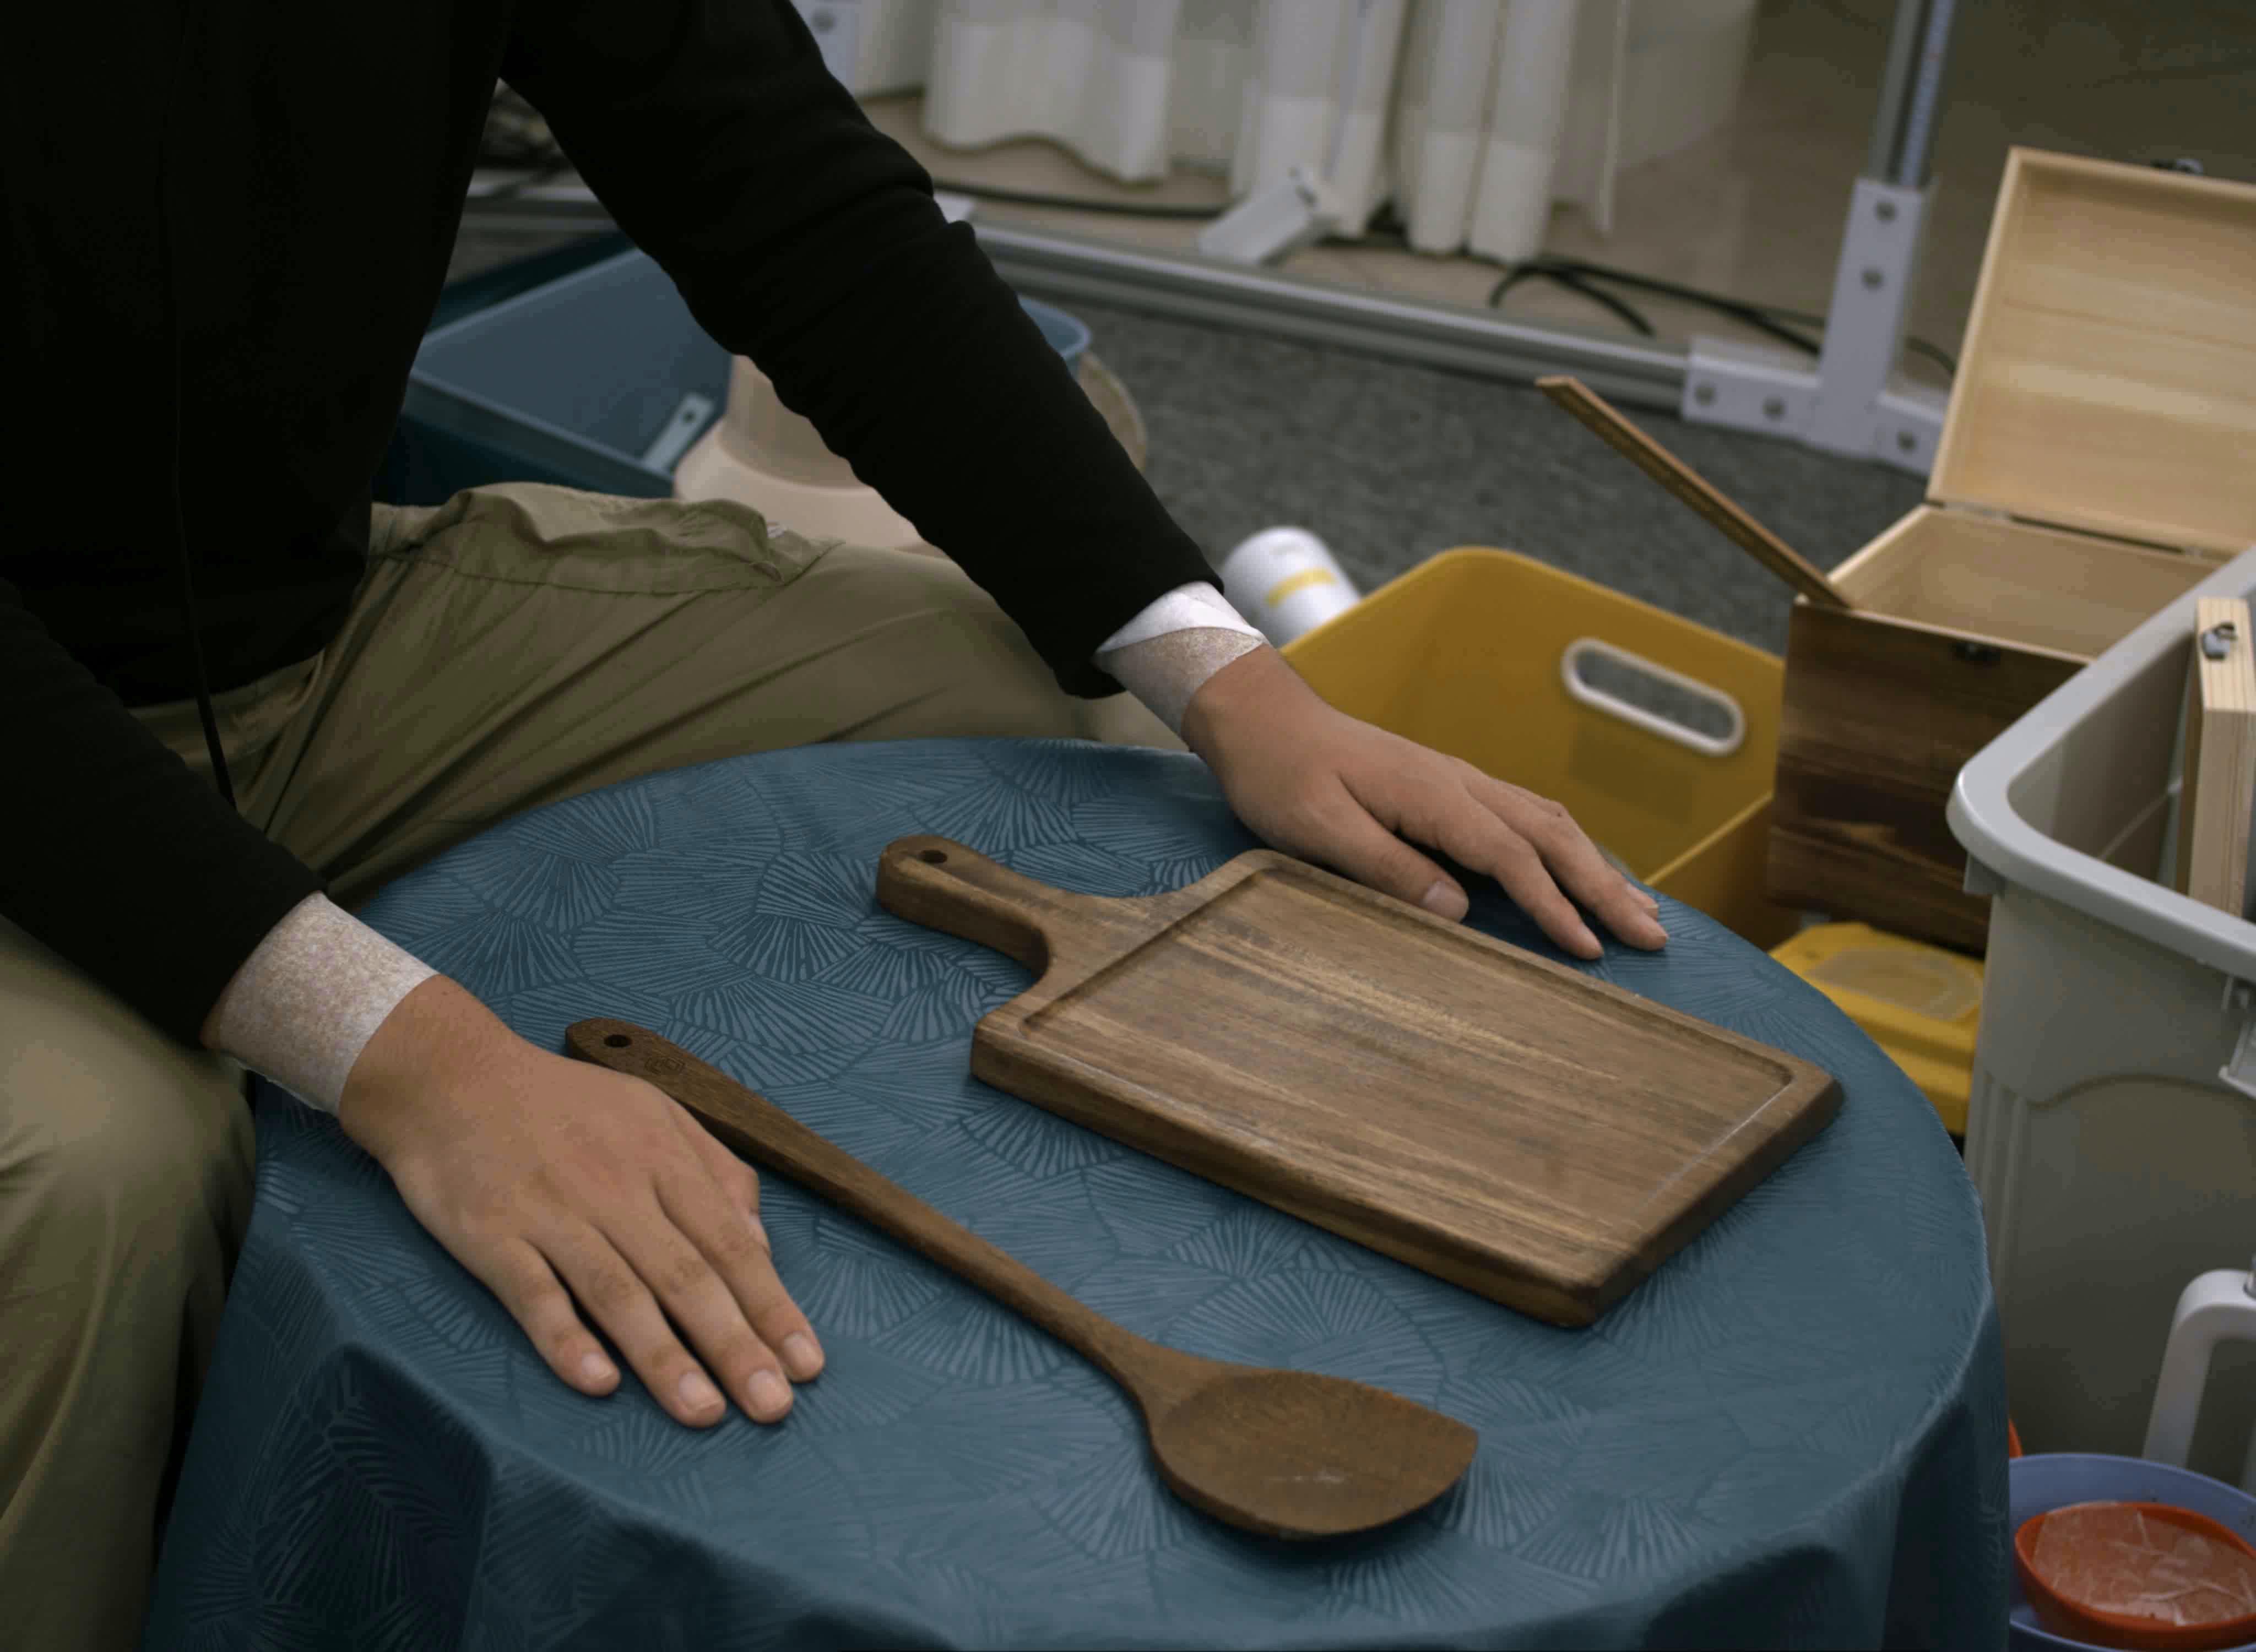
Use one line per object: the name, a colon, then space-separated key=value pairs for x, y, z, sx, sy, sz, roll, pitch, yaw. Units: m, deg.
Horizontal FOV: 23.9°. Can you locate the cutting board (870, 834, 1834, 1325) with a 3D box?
cutting board: x=0.057 y=0.070 z=1.896 sx=0.354 sy=0.023 sz=0.200 roll=21 pitch=30 yaw=27

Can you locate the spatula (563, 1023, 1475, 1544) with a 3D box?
spatula: x=-0.053 y=0.141 z=1.740 sx=0.389 sy=0.016 sz=0.095 roll=27 pitch=33 yaw=35
